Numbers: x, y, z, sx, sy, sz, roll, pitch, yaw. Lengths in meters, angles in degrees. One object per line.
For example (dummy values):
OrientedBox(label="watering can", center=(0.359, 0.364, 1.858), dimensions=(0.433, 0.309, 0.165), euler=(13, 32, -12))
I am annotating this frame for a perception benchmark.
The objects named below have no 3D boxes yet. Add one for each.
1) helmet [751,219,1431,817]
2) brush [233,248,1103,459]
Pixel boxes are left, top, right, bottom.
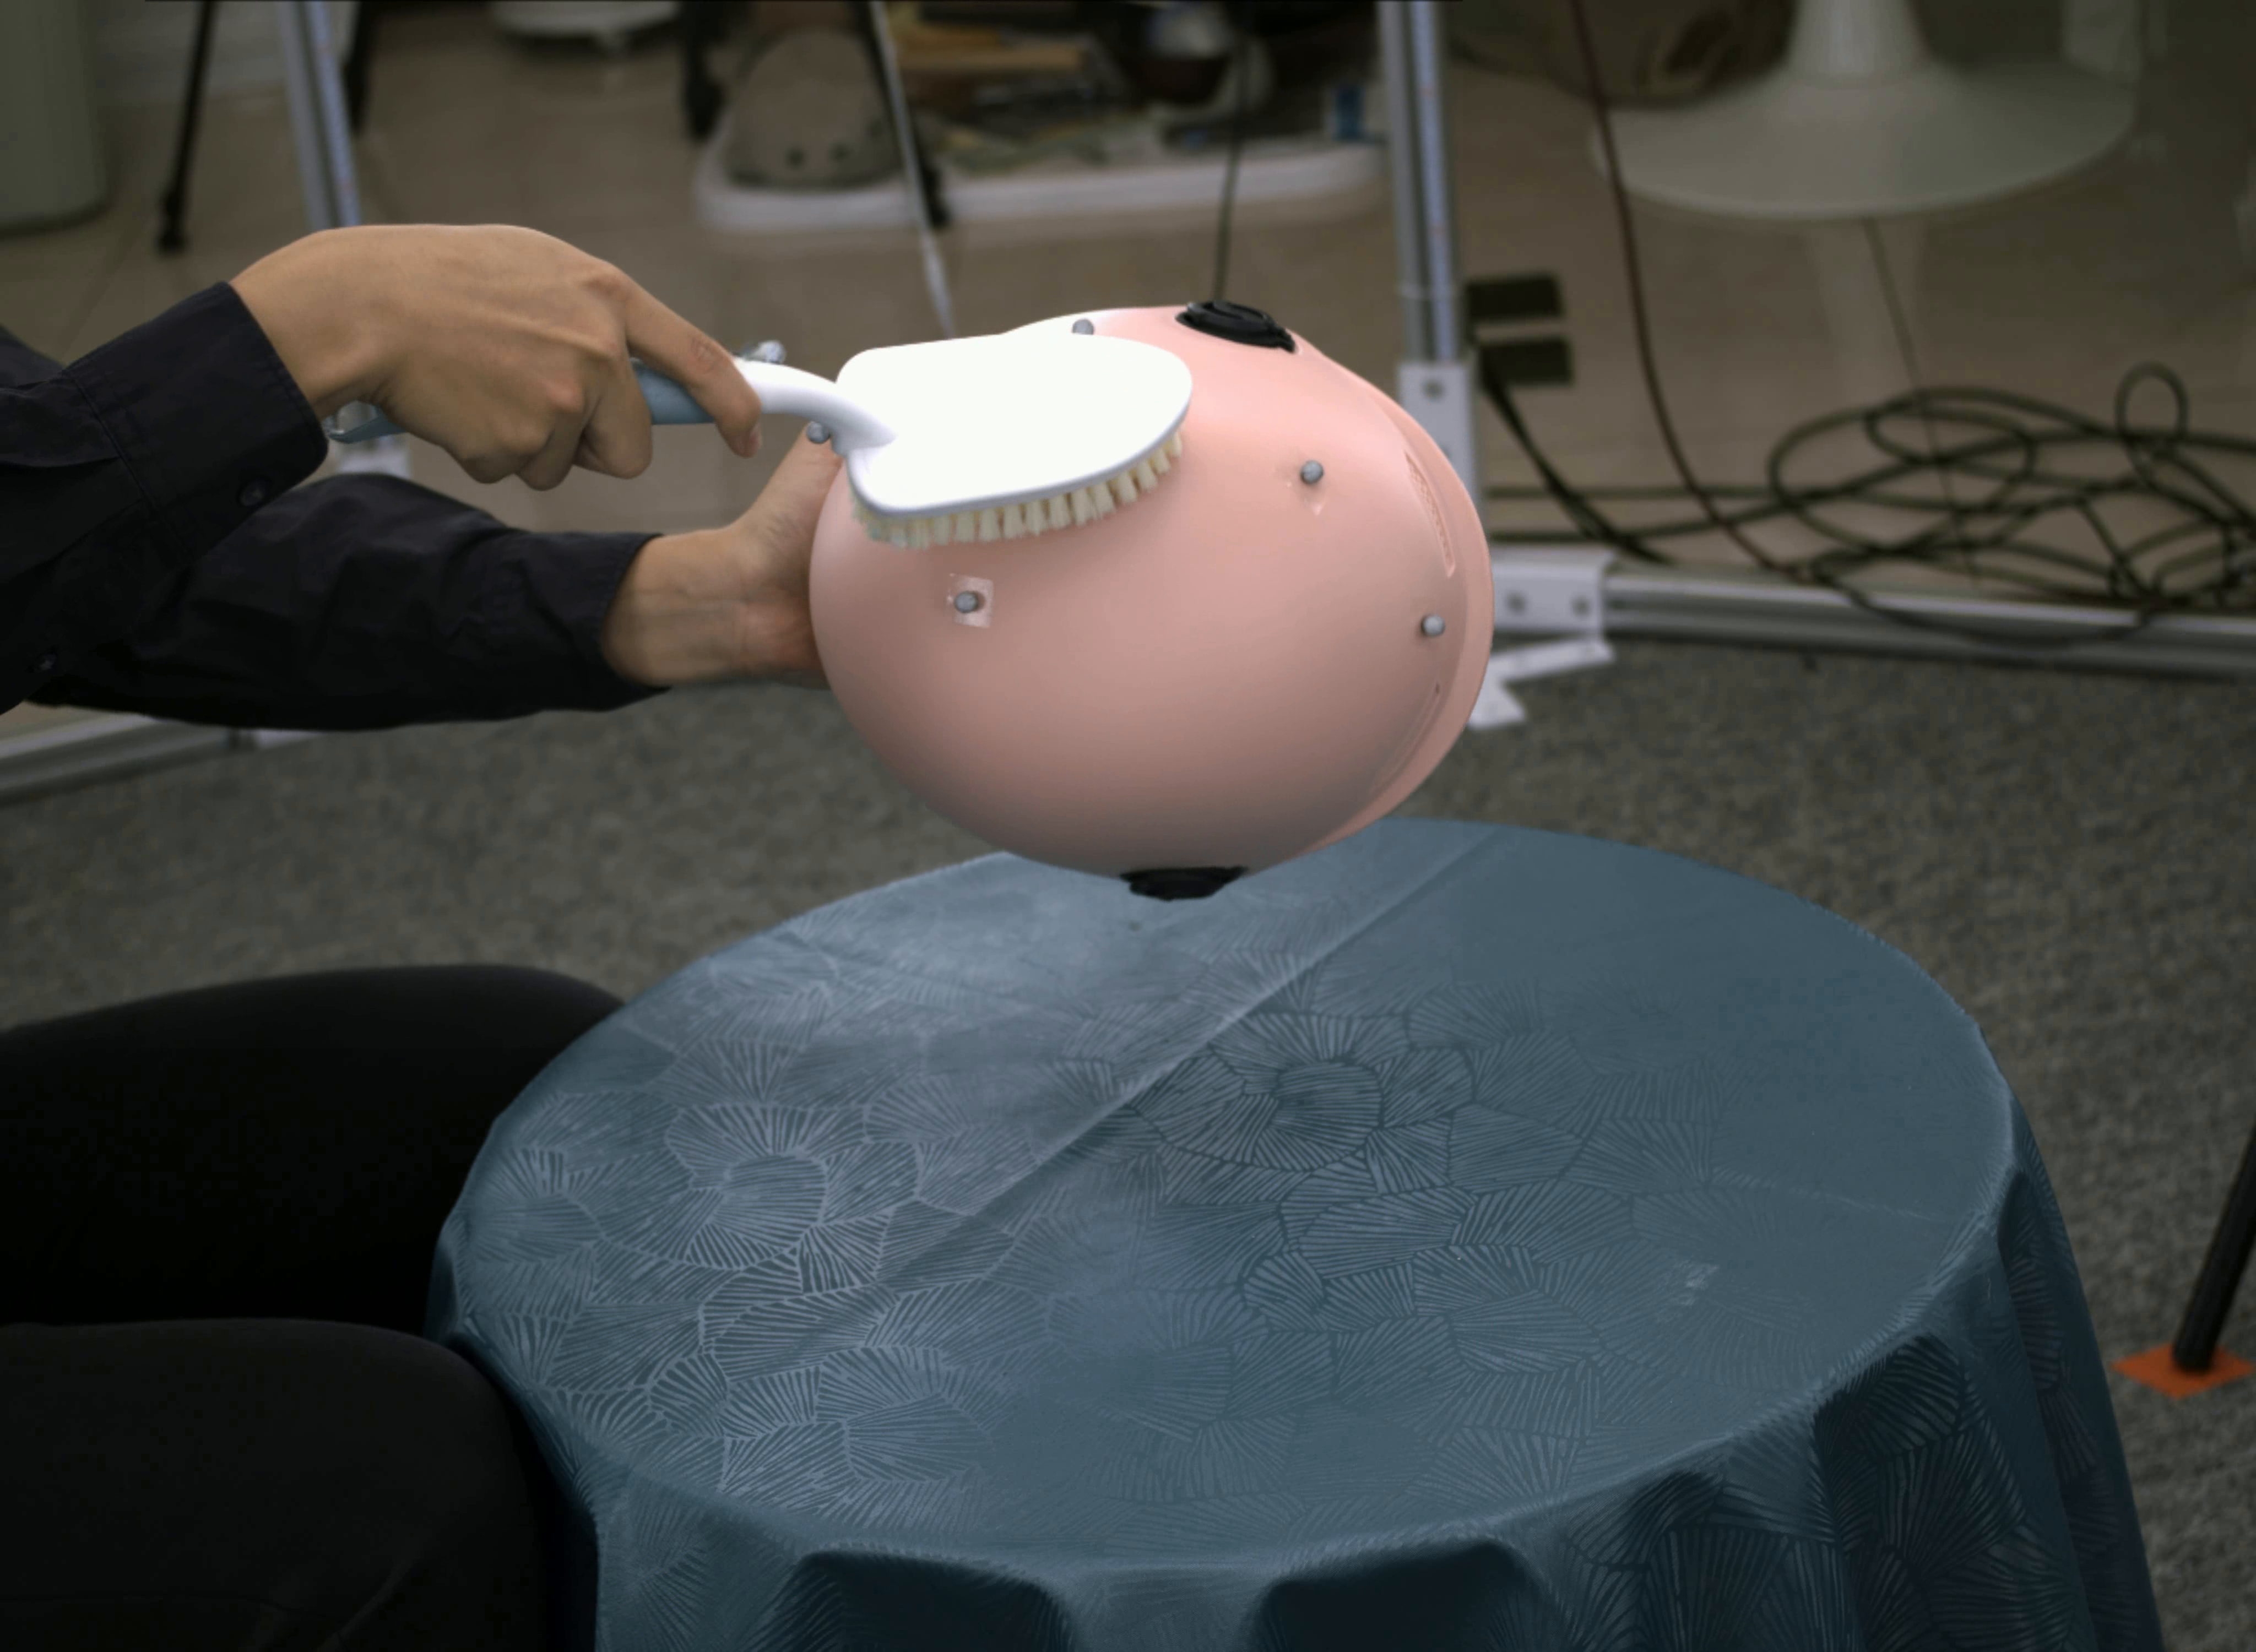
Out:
OrientedBox(label="helmet", center=(-0.030, -0.120, 2.170), dimensions=(0.265, 0.235, 0.158), euler=(7, 6, 19))
OrientedBox(label="brush", center=(-0.167, -0.175, 2.040), dimensions=(0.325, 0.086, 0.082), euler=(-3, 32, -20))
